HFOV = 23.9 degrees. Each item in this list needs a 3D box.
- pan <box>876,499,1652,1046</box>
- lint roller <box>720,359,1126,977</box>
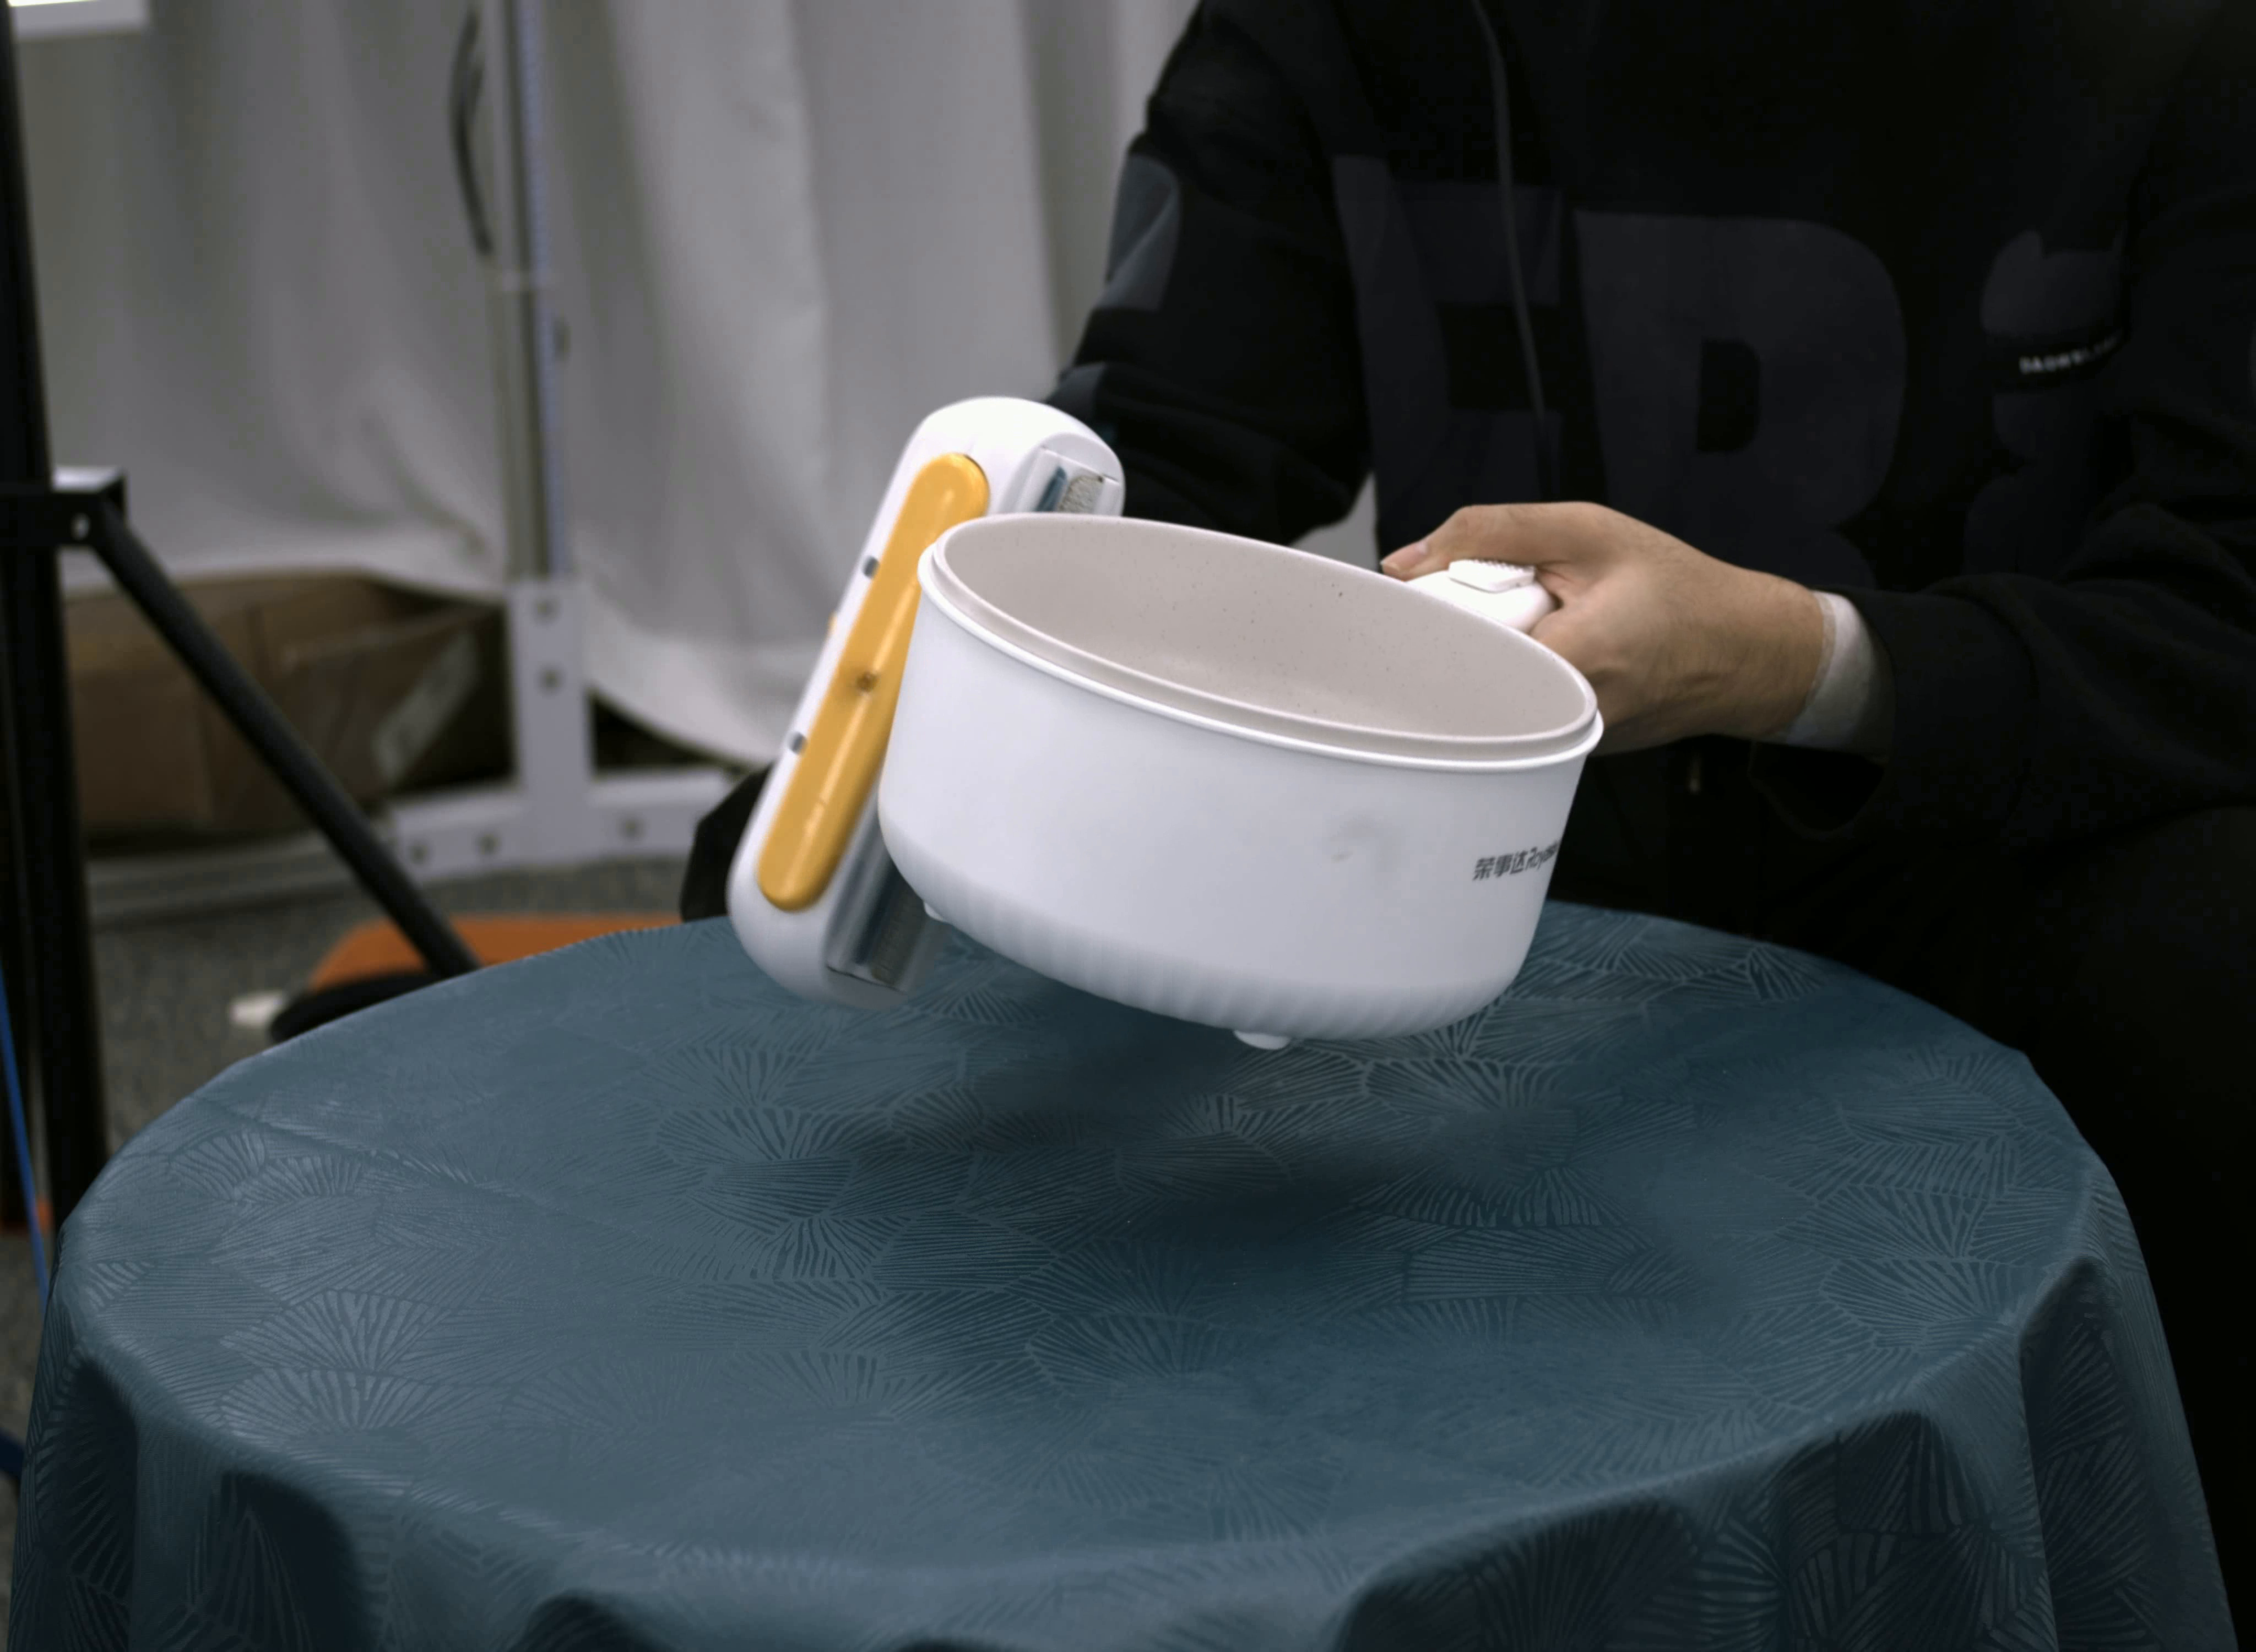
[{"bbox_3d":[0.062,-0.024,1.590,0.204,0.102,0.348,22,18,23],"label":"pan"},{"bbox_3d":[-0.045,-0.037,1.663,0.075,0.193,0.188,18,-5,28],"label":"lint roller"}]
